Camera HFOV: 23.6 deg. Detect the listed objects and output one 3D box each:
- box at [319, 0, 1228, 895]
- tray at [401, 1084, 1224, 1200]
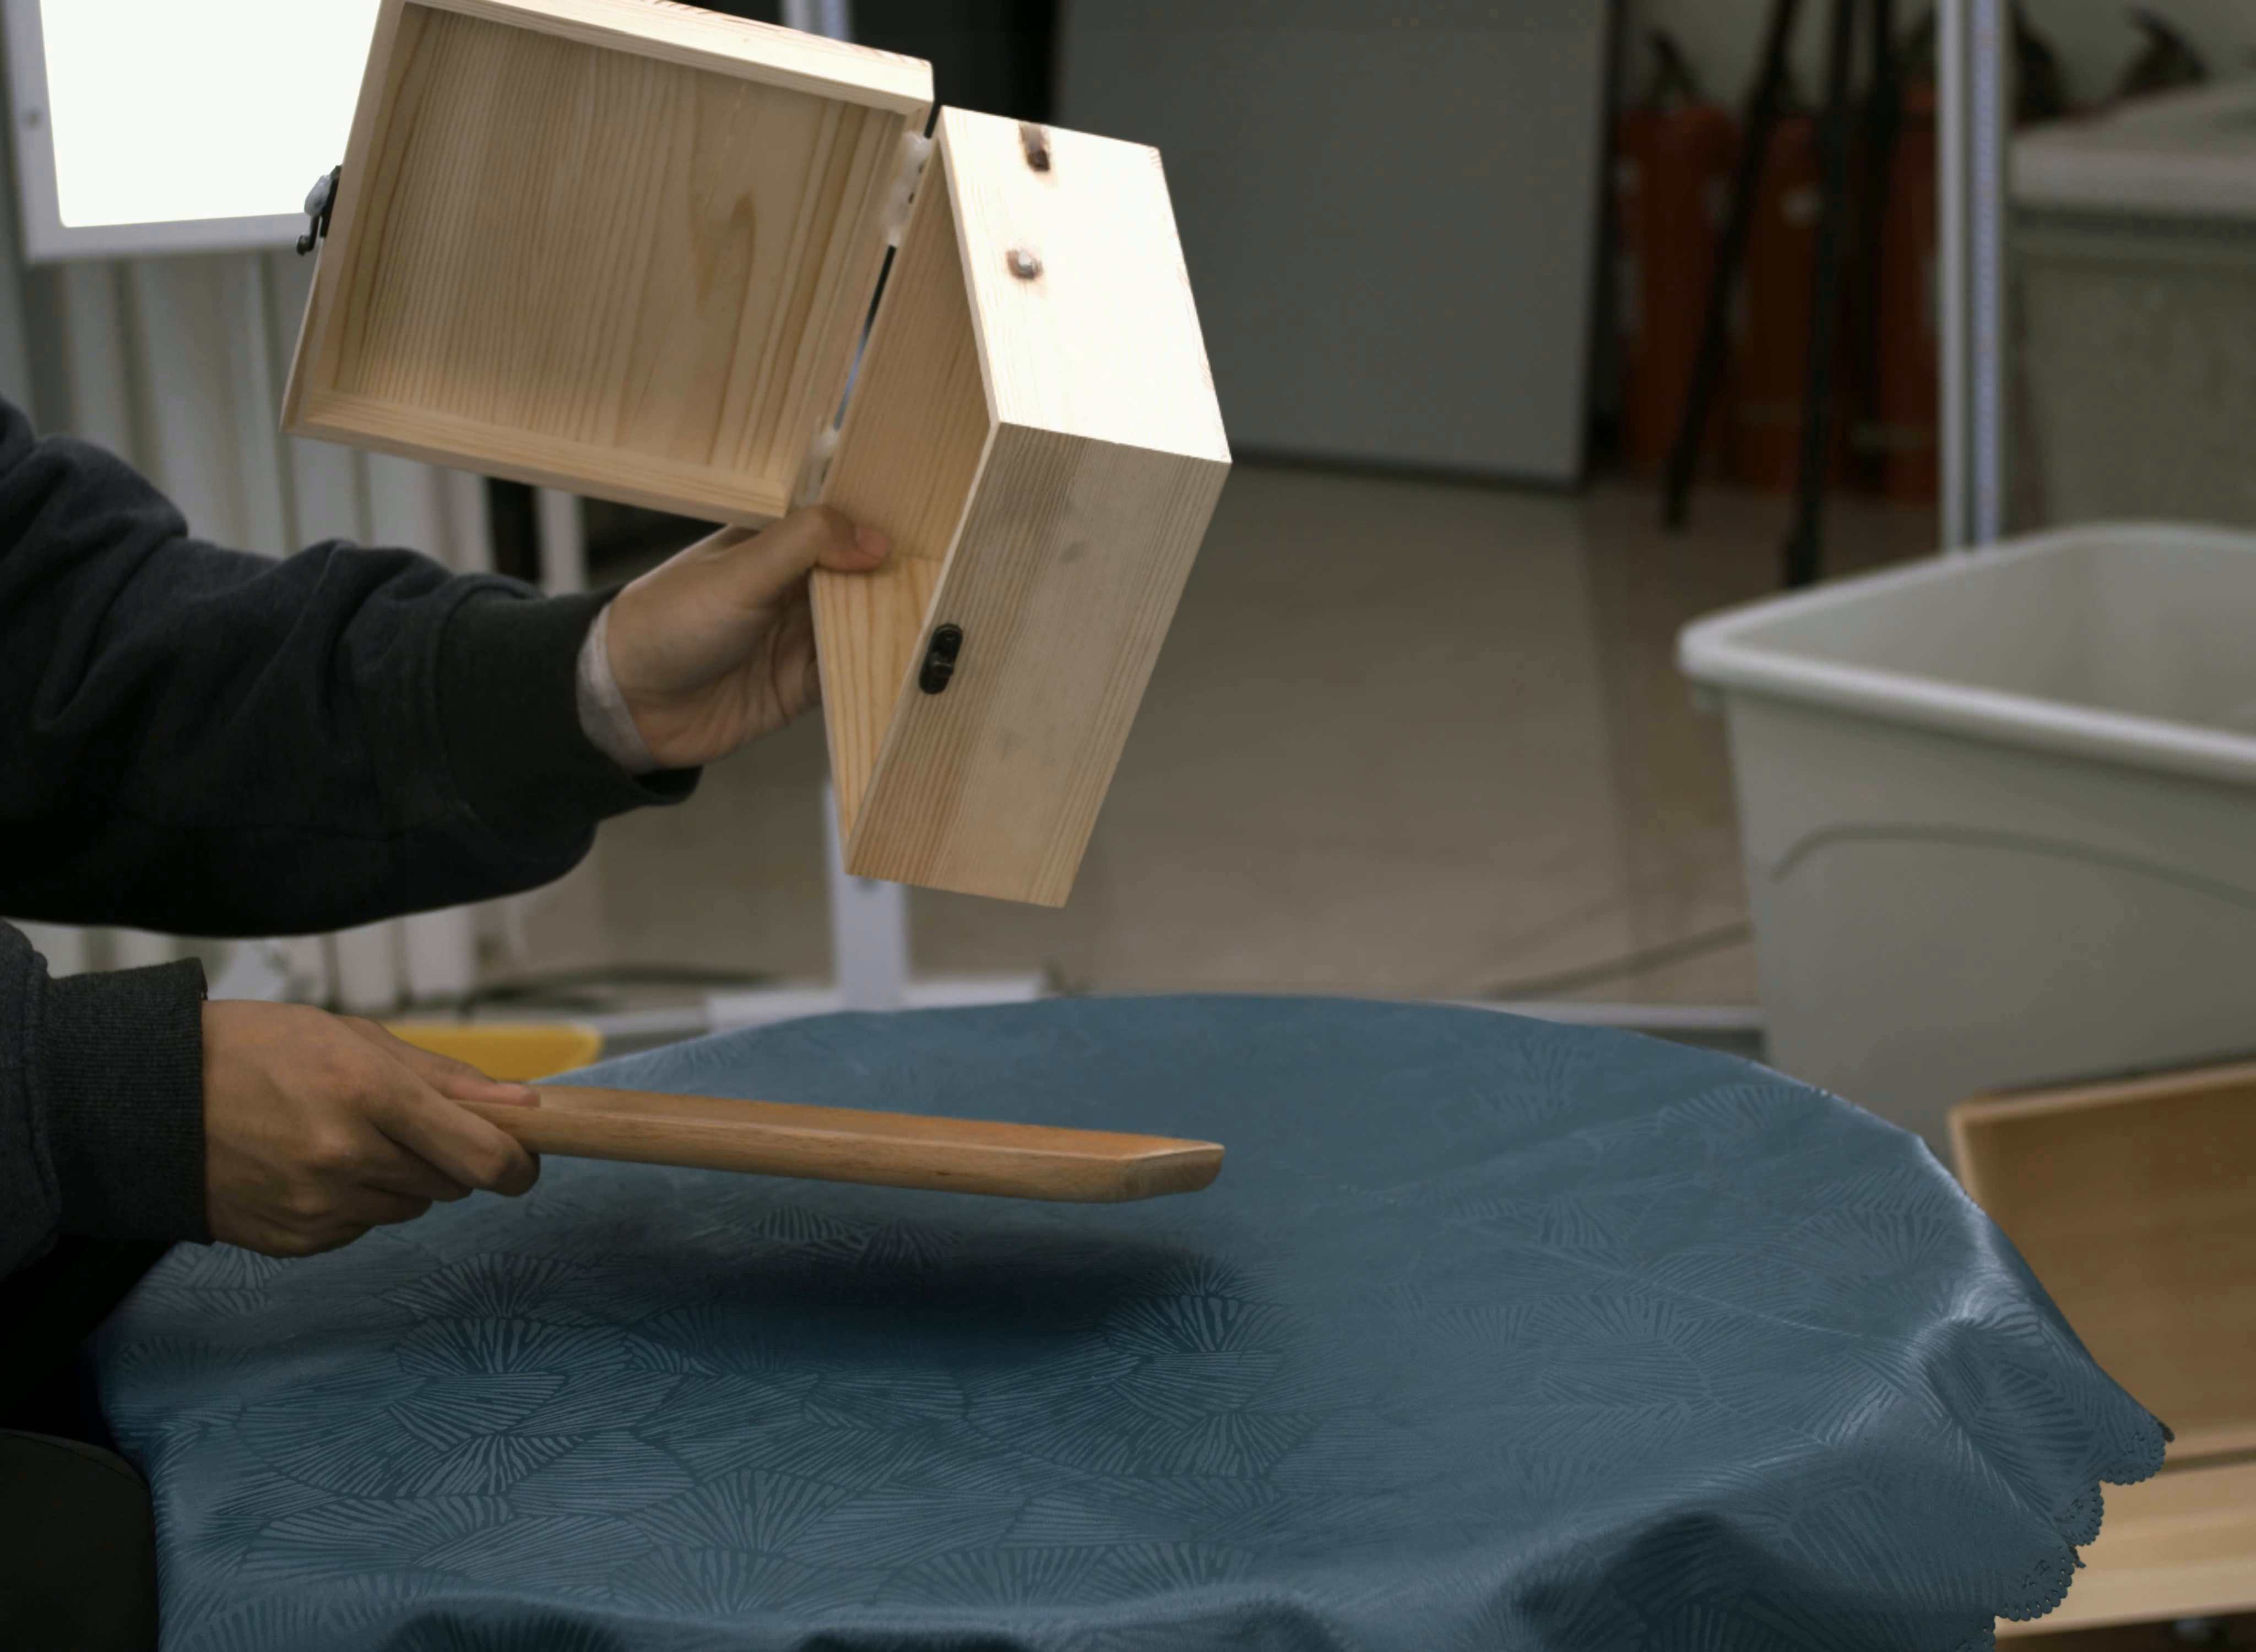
[{"bbox_3d":[-0.124,-0.140,1.741,0.248,0.183,0.267,7,36,-12],"label":"box"},{"bbox_3d":[-0.099,0.098,1.697,0.250,0.023,0.129,3,-4,22],"label":"tray"}]
